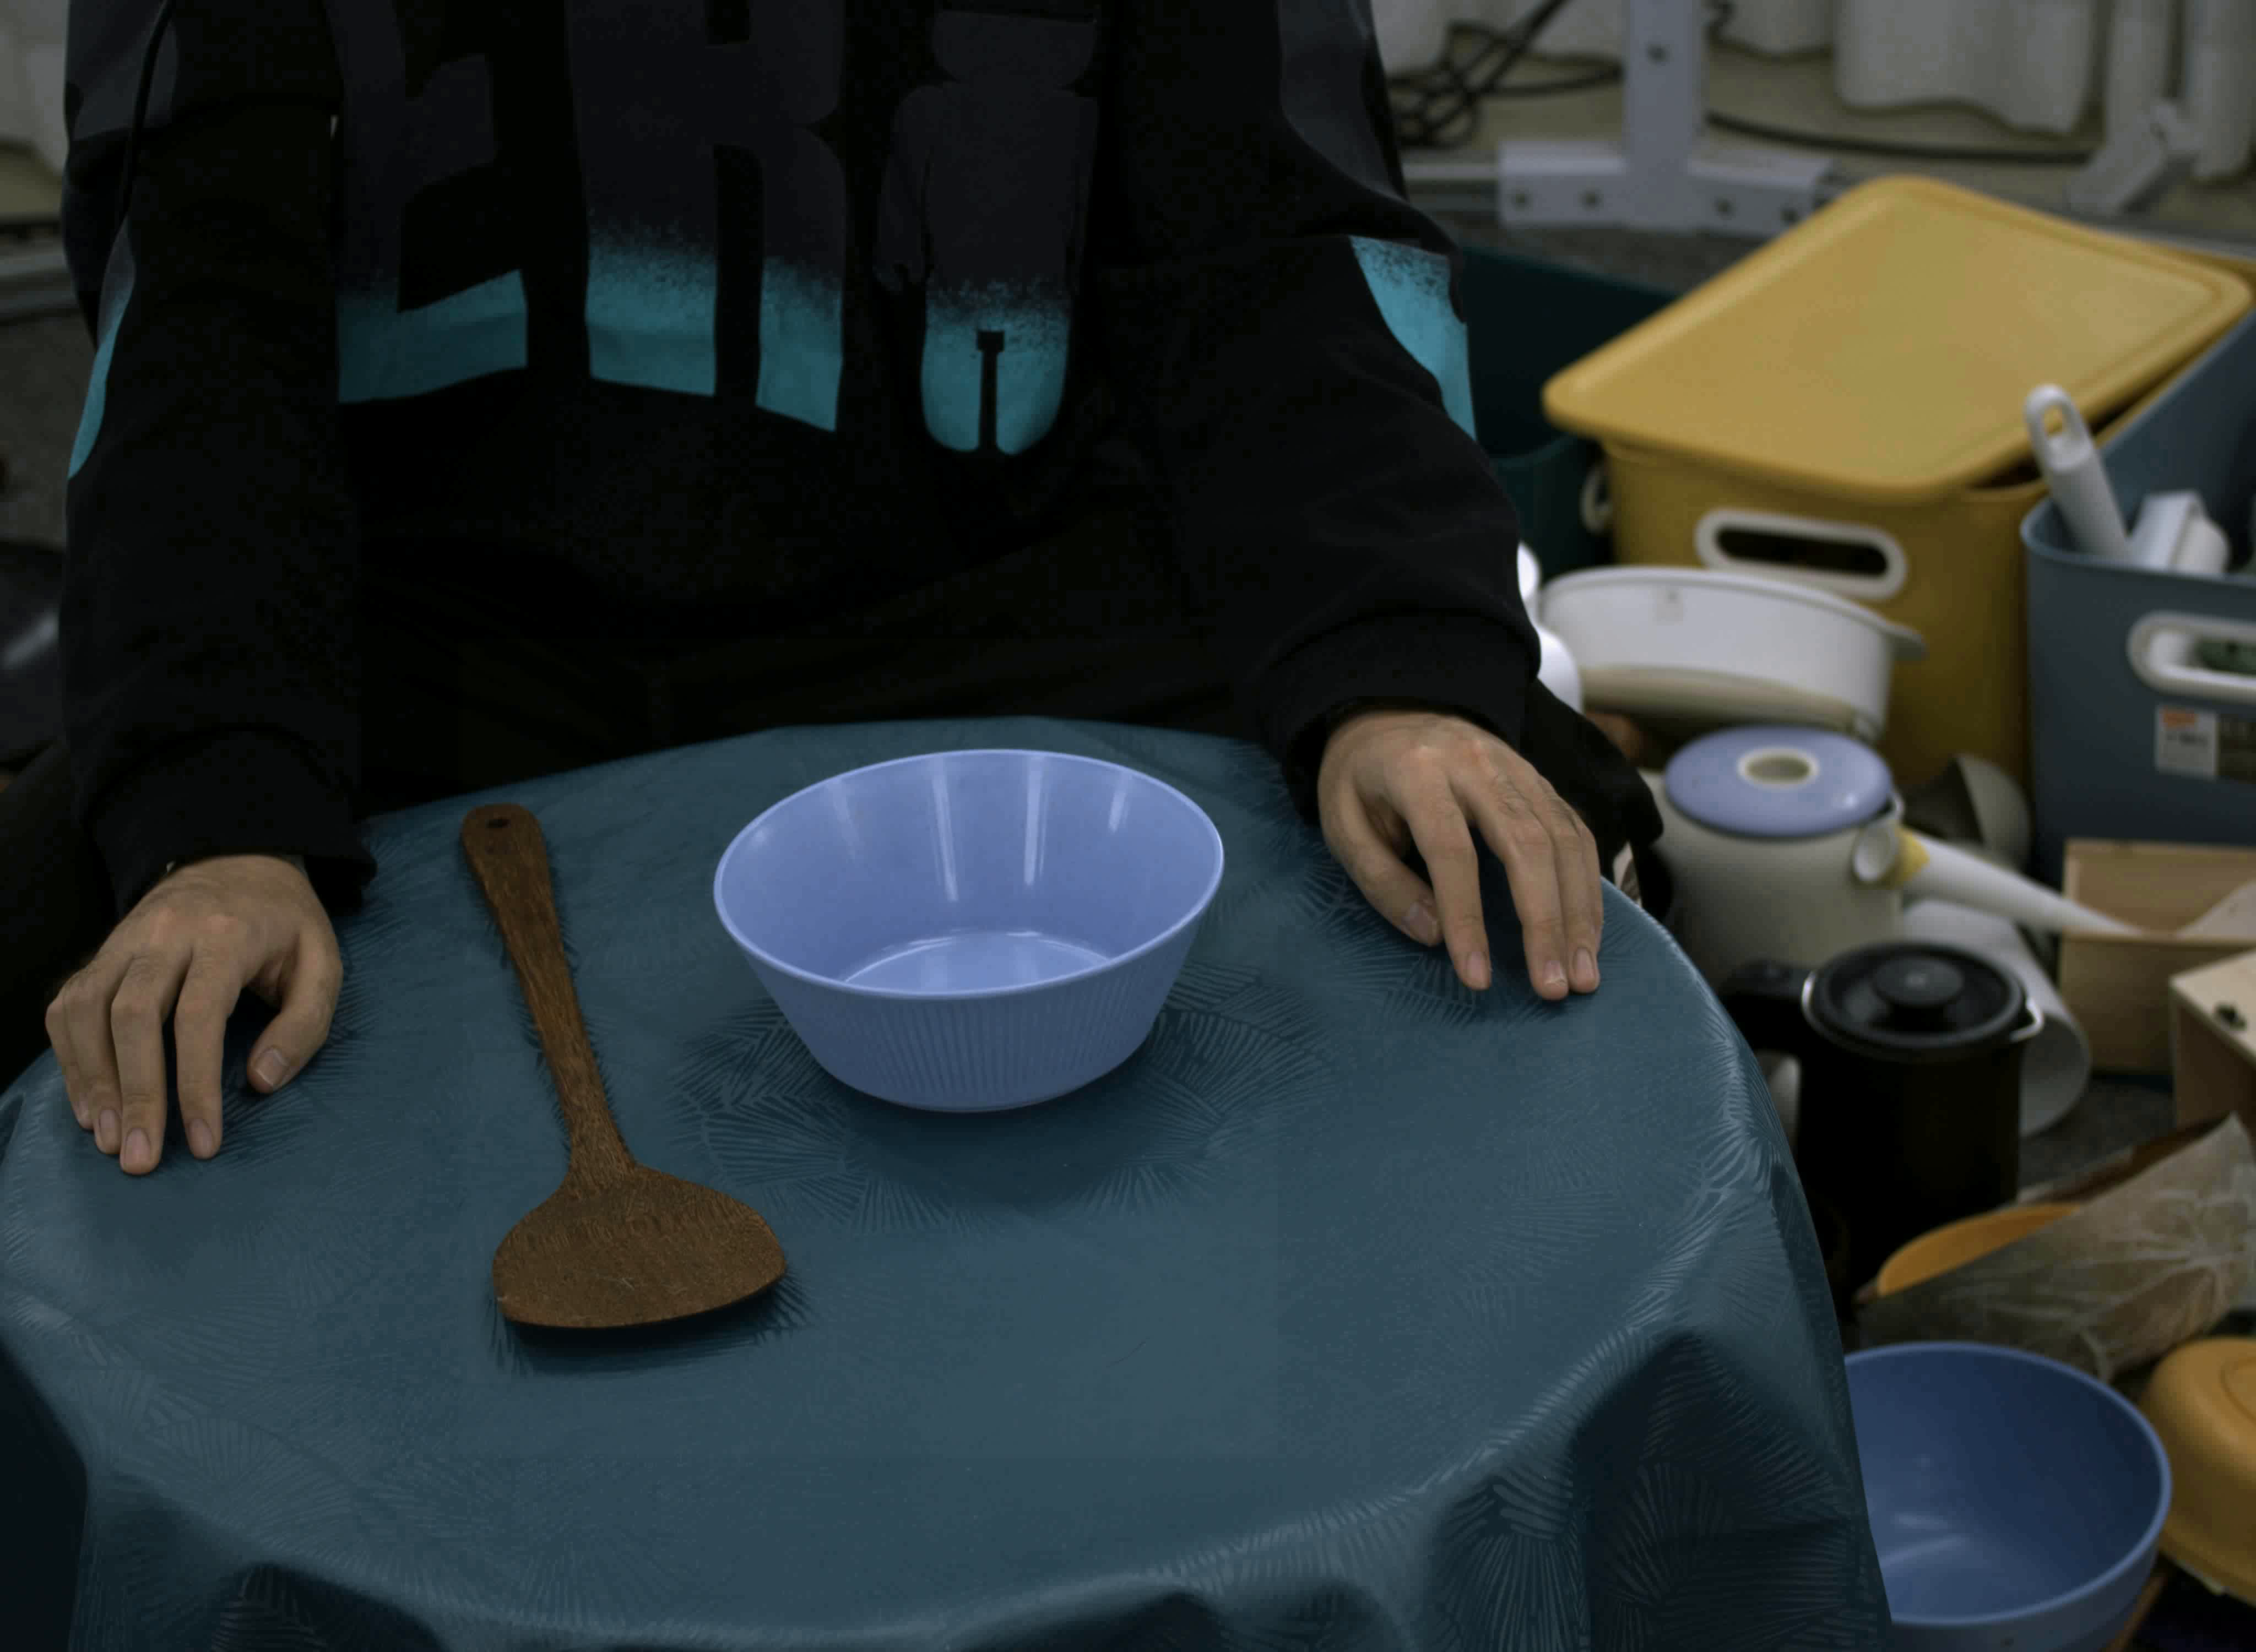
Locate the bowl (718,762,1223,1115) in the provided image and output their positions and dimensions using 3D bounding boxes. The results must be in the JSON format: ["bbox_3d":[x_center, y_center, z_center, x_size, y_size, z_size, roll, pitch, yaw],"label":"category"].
[{"bbox_3d":[-0.052,0.044,1.942,0.175,0.069,0.178,-3,26,2],"label":"bowl"}]

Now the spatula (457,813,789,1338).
[{"bbox_3d":[-0.195,0.078,1.951,0.096,0.015,0.390,-8,27,-11],"label":"spatula"}]
